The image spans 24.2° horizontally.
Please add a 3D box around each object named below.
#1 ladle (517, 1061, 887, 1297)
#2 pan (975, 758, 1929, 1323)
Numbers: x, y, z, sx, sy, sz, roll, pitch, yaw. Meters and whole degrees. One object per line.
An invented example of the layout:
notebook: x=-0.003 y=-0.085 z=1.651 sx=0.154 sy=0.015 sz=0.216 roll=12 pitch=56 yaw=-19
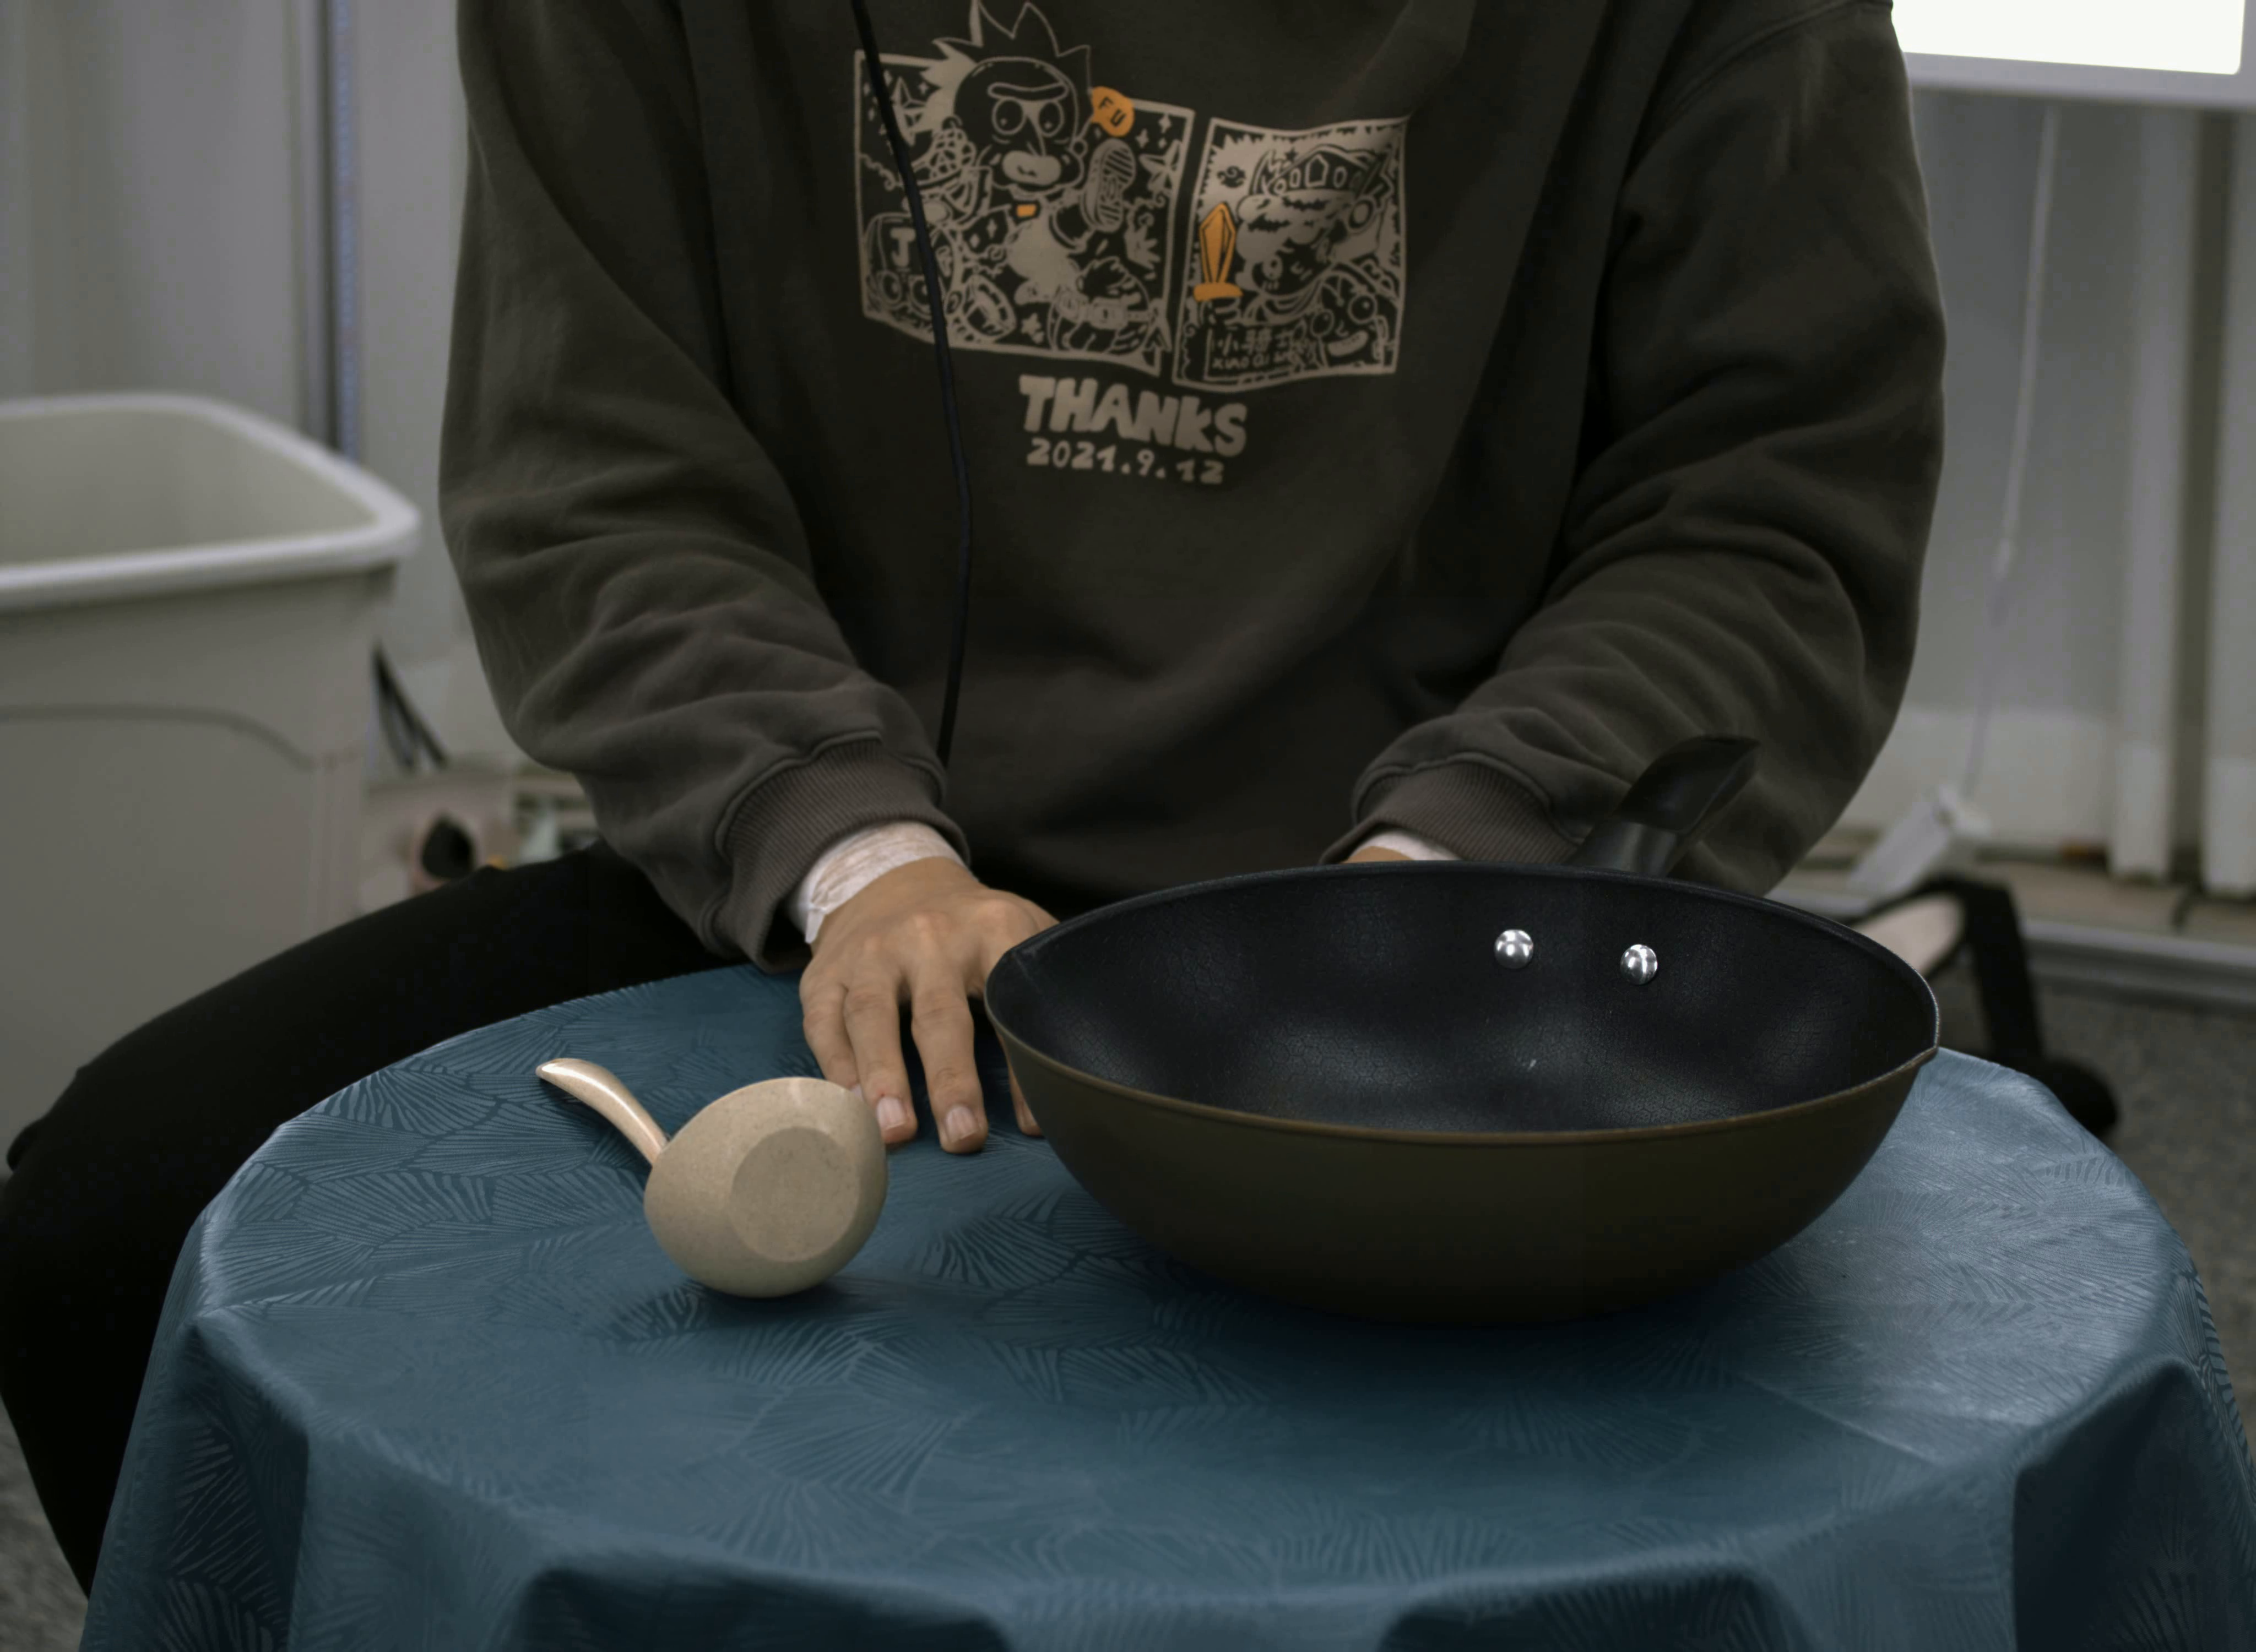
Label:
ladle: x=-0.146 y=0.078 z=1.614 sx=0.072 sy=0.073 sz=0.251 roll=-12 pitch=19 yaw=-22
pan: x=0.128 y=0.064 z=1.656 sx=0.285 sy=0.087 sz=0.464 roll=6 pitch=15 yaw=20
